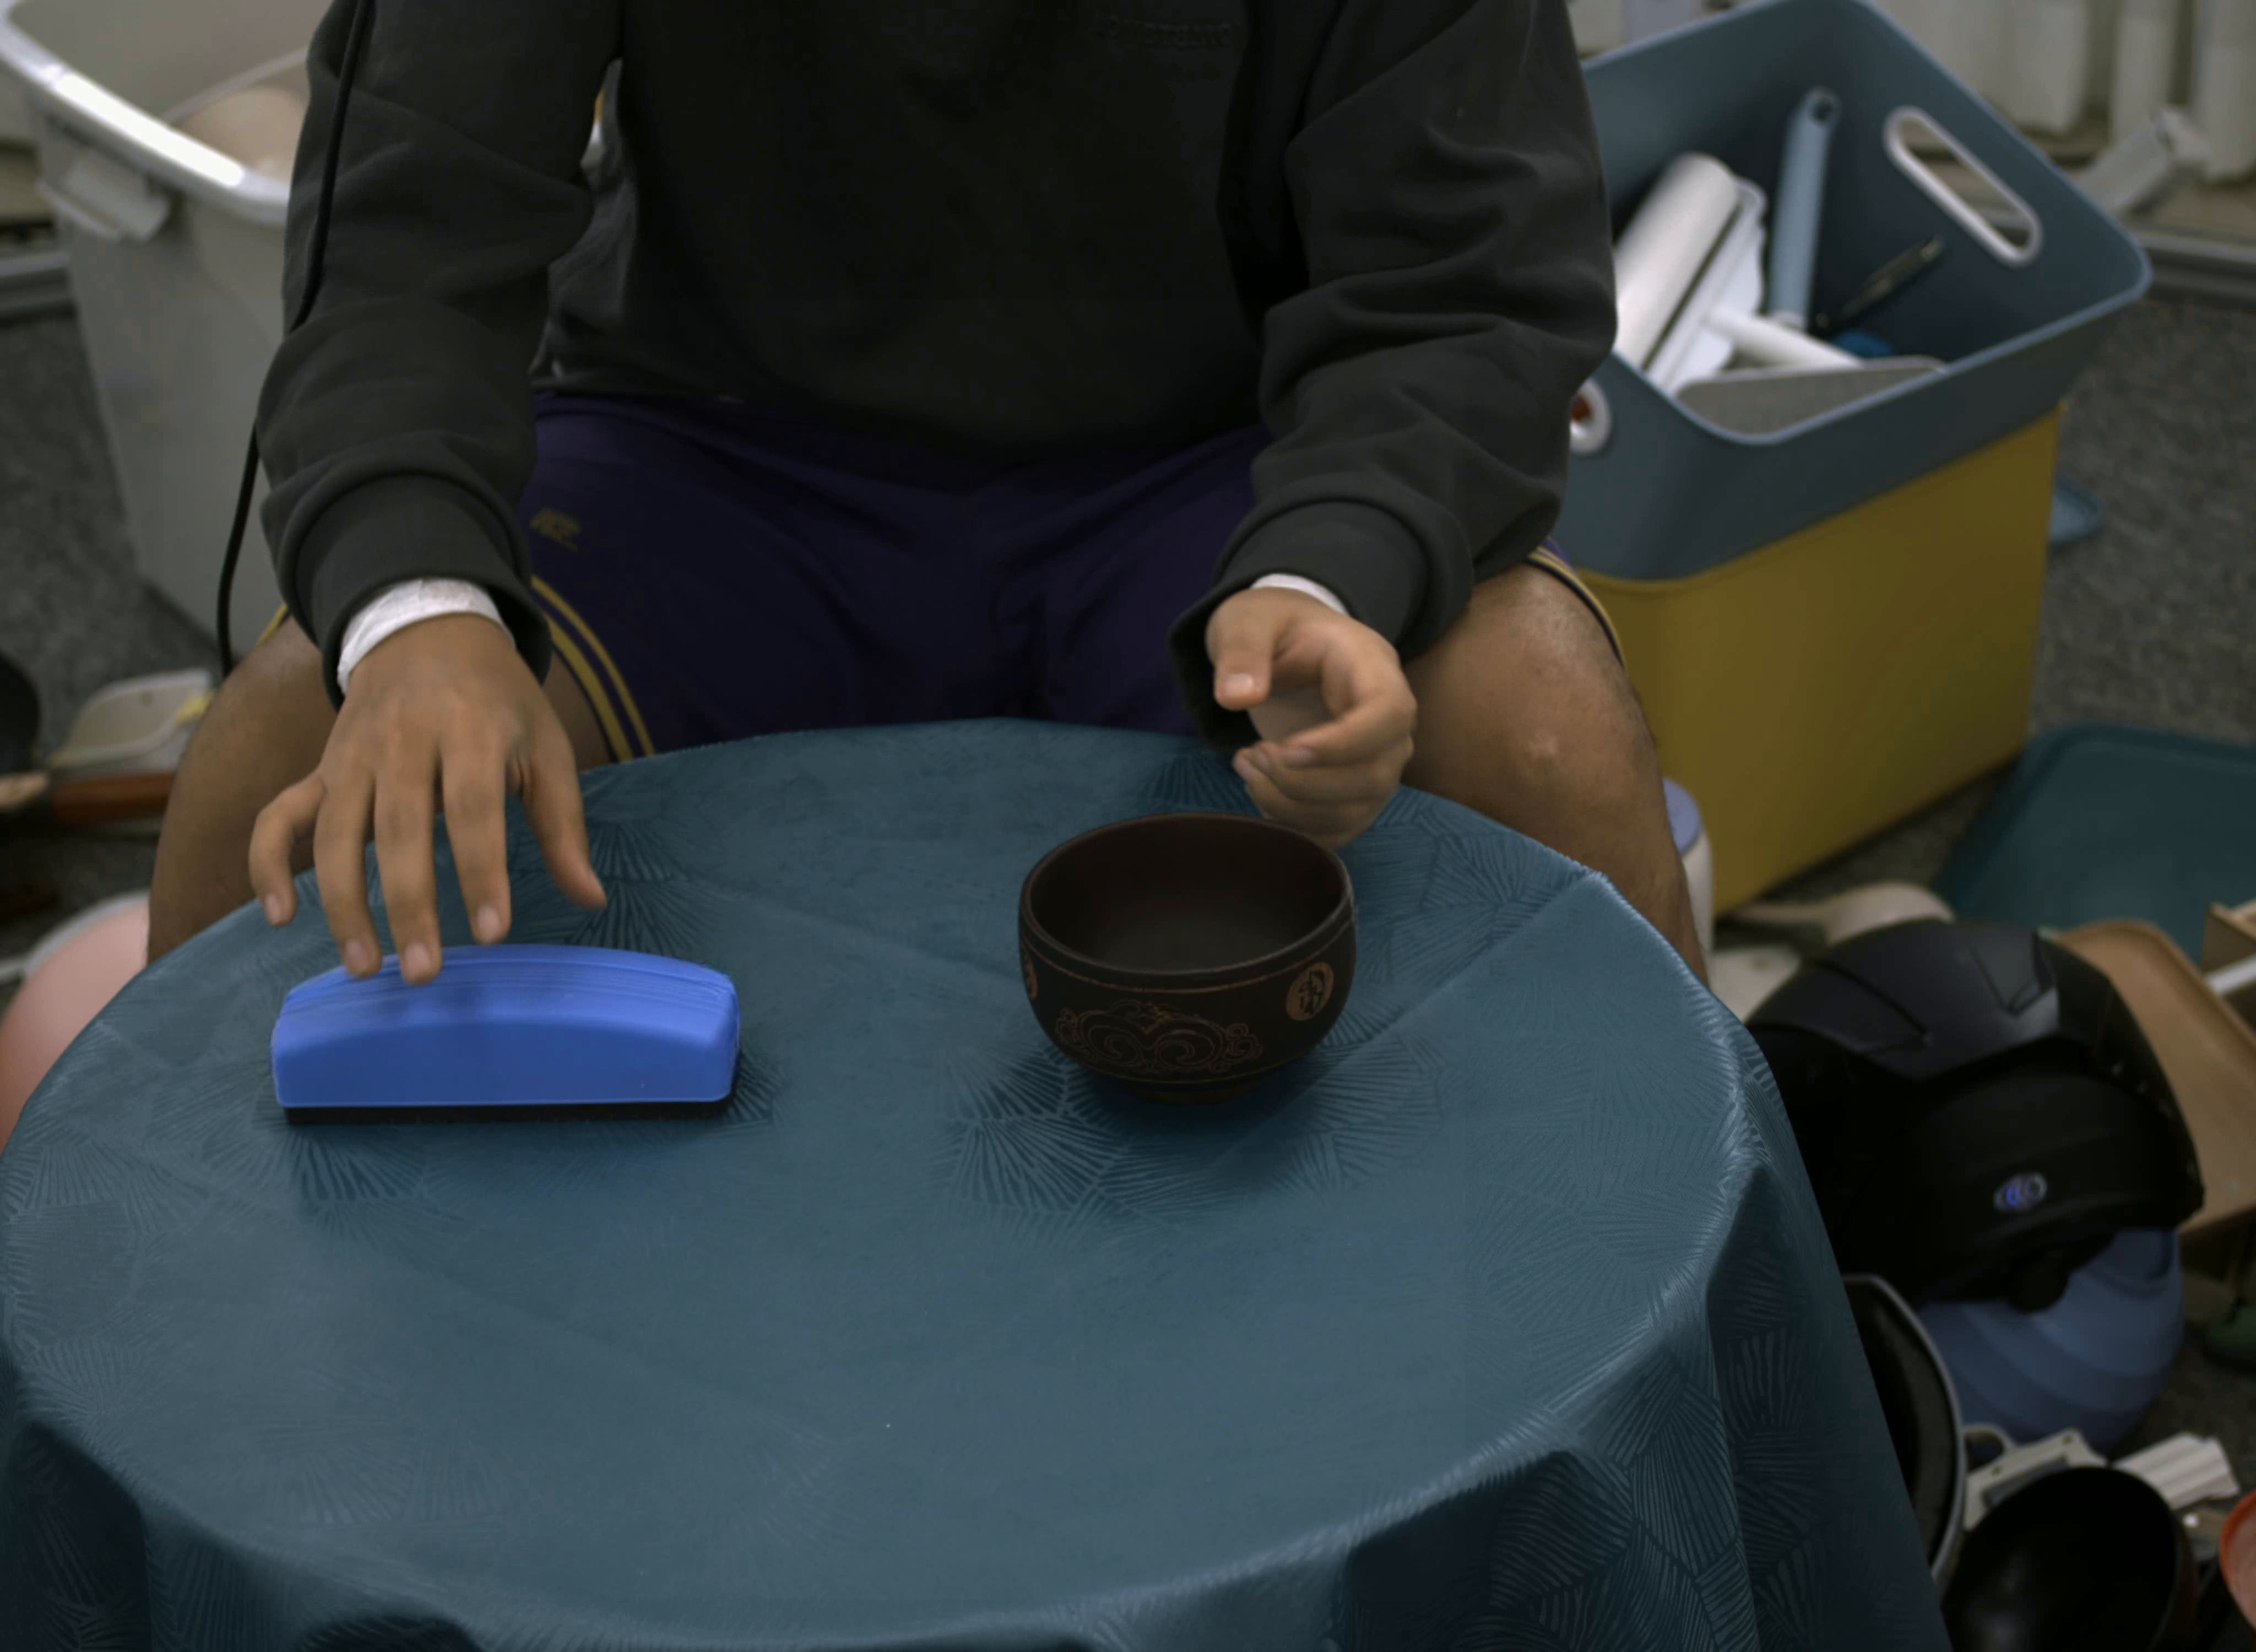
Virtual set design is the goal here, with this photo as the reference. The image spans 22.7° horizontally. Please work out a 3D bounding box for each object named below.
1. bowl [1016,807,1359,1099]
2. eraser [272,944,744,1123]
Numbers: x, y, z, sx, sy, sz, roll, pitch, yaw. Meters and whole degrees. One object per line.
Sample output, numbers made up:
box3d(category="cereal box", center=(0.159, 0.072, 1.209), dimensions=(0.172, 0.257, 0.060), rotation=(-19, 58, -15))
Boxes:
box3d(category="bowl", center=(0.021, 0.050, 1.919), dimensions=(0.117, 0.069, 0.120), rotation=(-3, 26, 2))
box3d(category="eraser", center=(-0.214, 0.071, 1.932), dimensions=(0.161, 0.047, 0.055), rotation=(-1, 28, 3))
